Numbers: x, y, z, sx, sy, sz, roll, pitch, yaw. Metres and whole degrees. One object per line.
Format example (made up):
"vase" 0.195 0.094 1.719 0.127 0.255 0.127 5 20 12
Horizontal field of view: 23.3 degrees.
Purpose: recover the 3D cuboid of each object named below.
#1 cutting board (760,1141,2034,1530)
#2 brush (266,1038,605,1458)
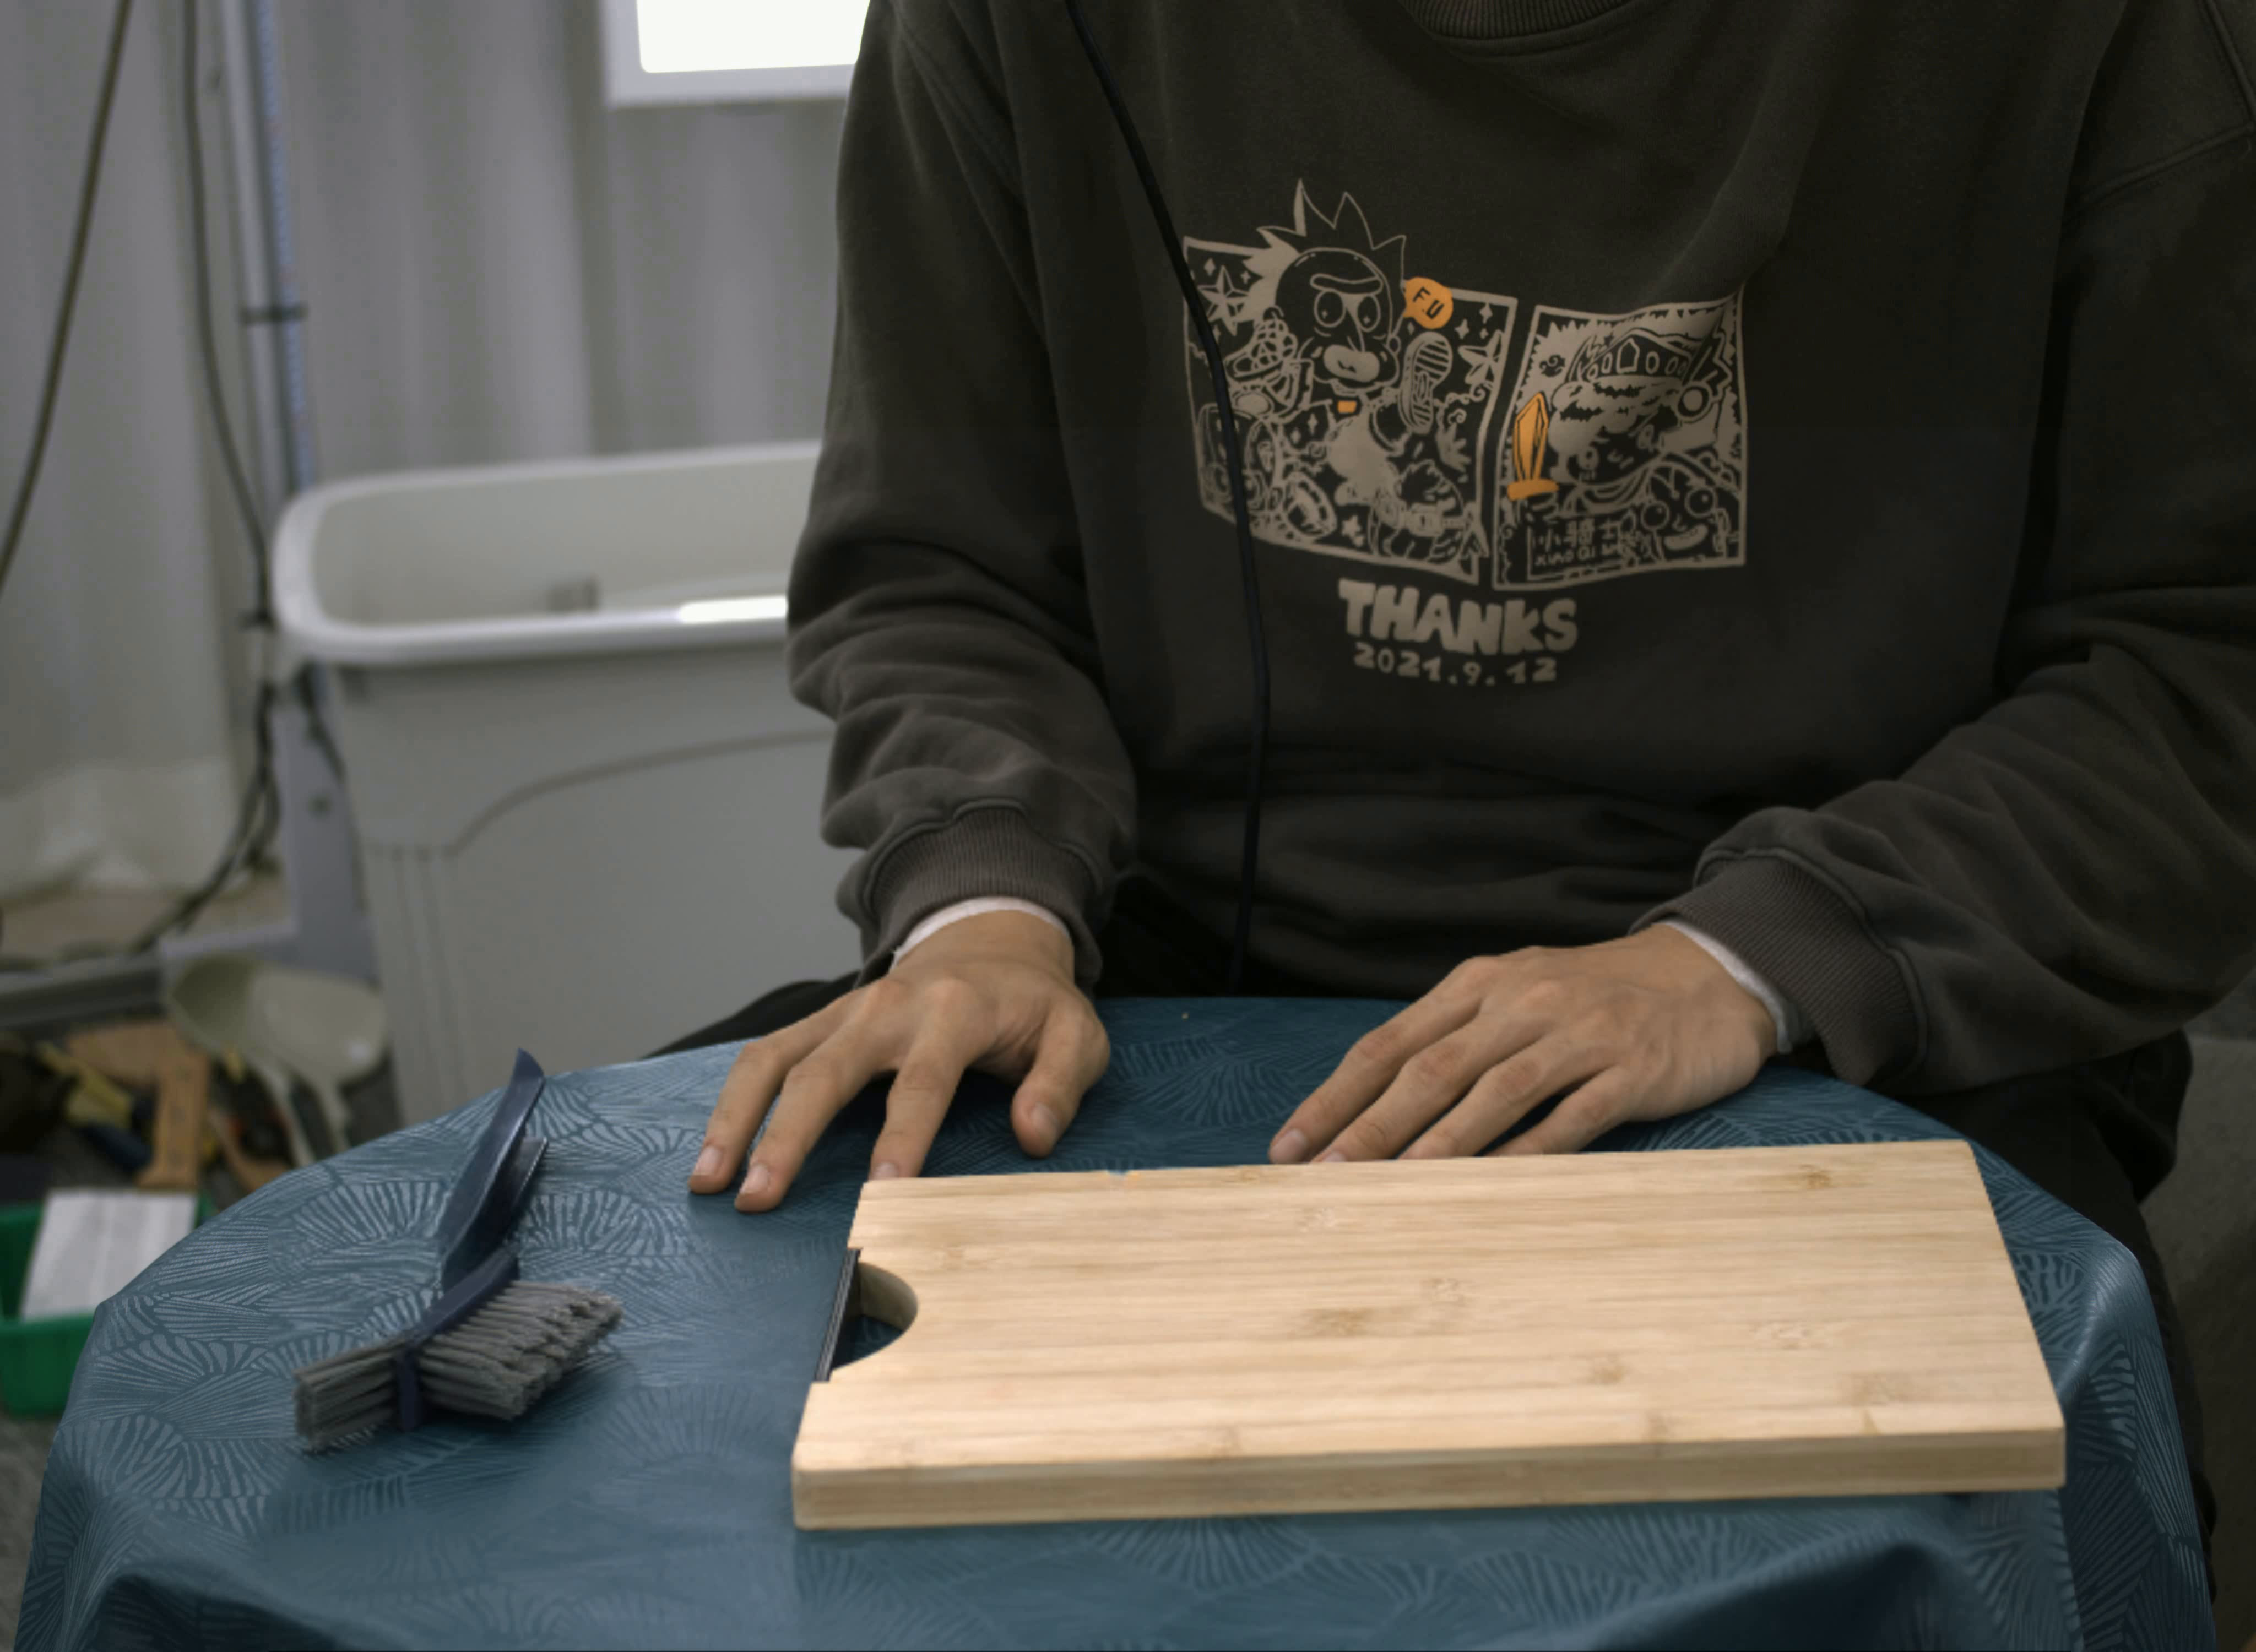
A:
"cutting board" 0.077 0.144 1.568 0.347 0.023 0.252 -2 14 2
"brush" -0.206 0.125 1.666 0.095 0.033 0.275 -4 16 -4
